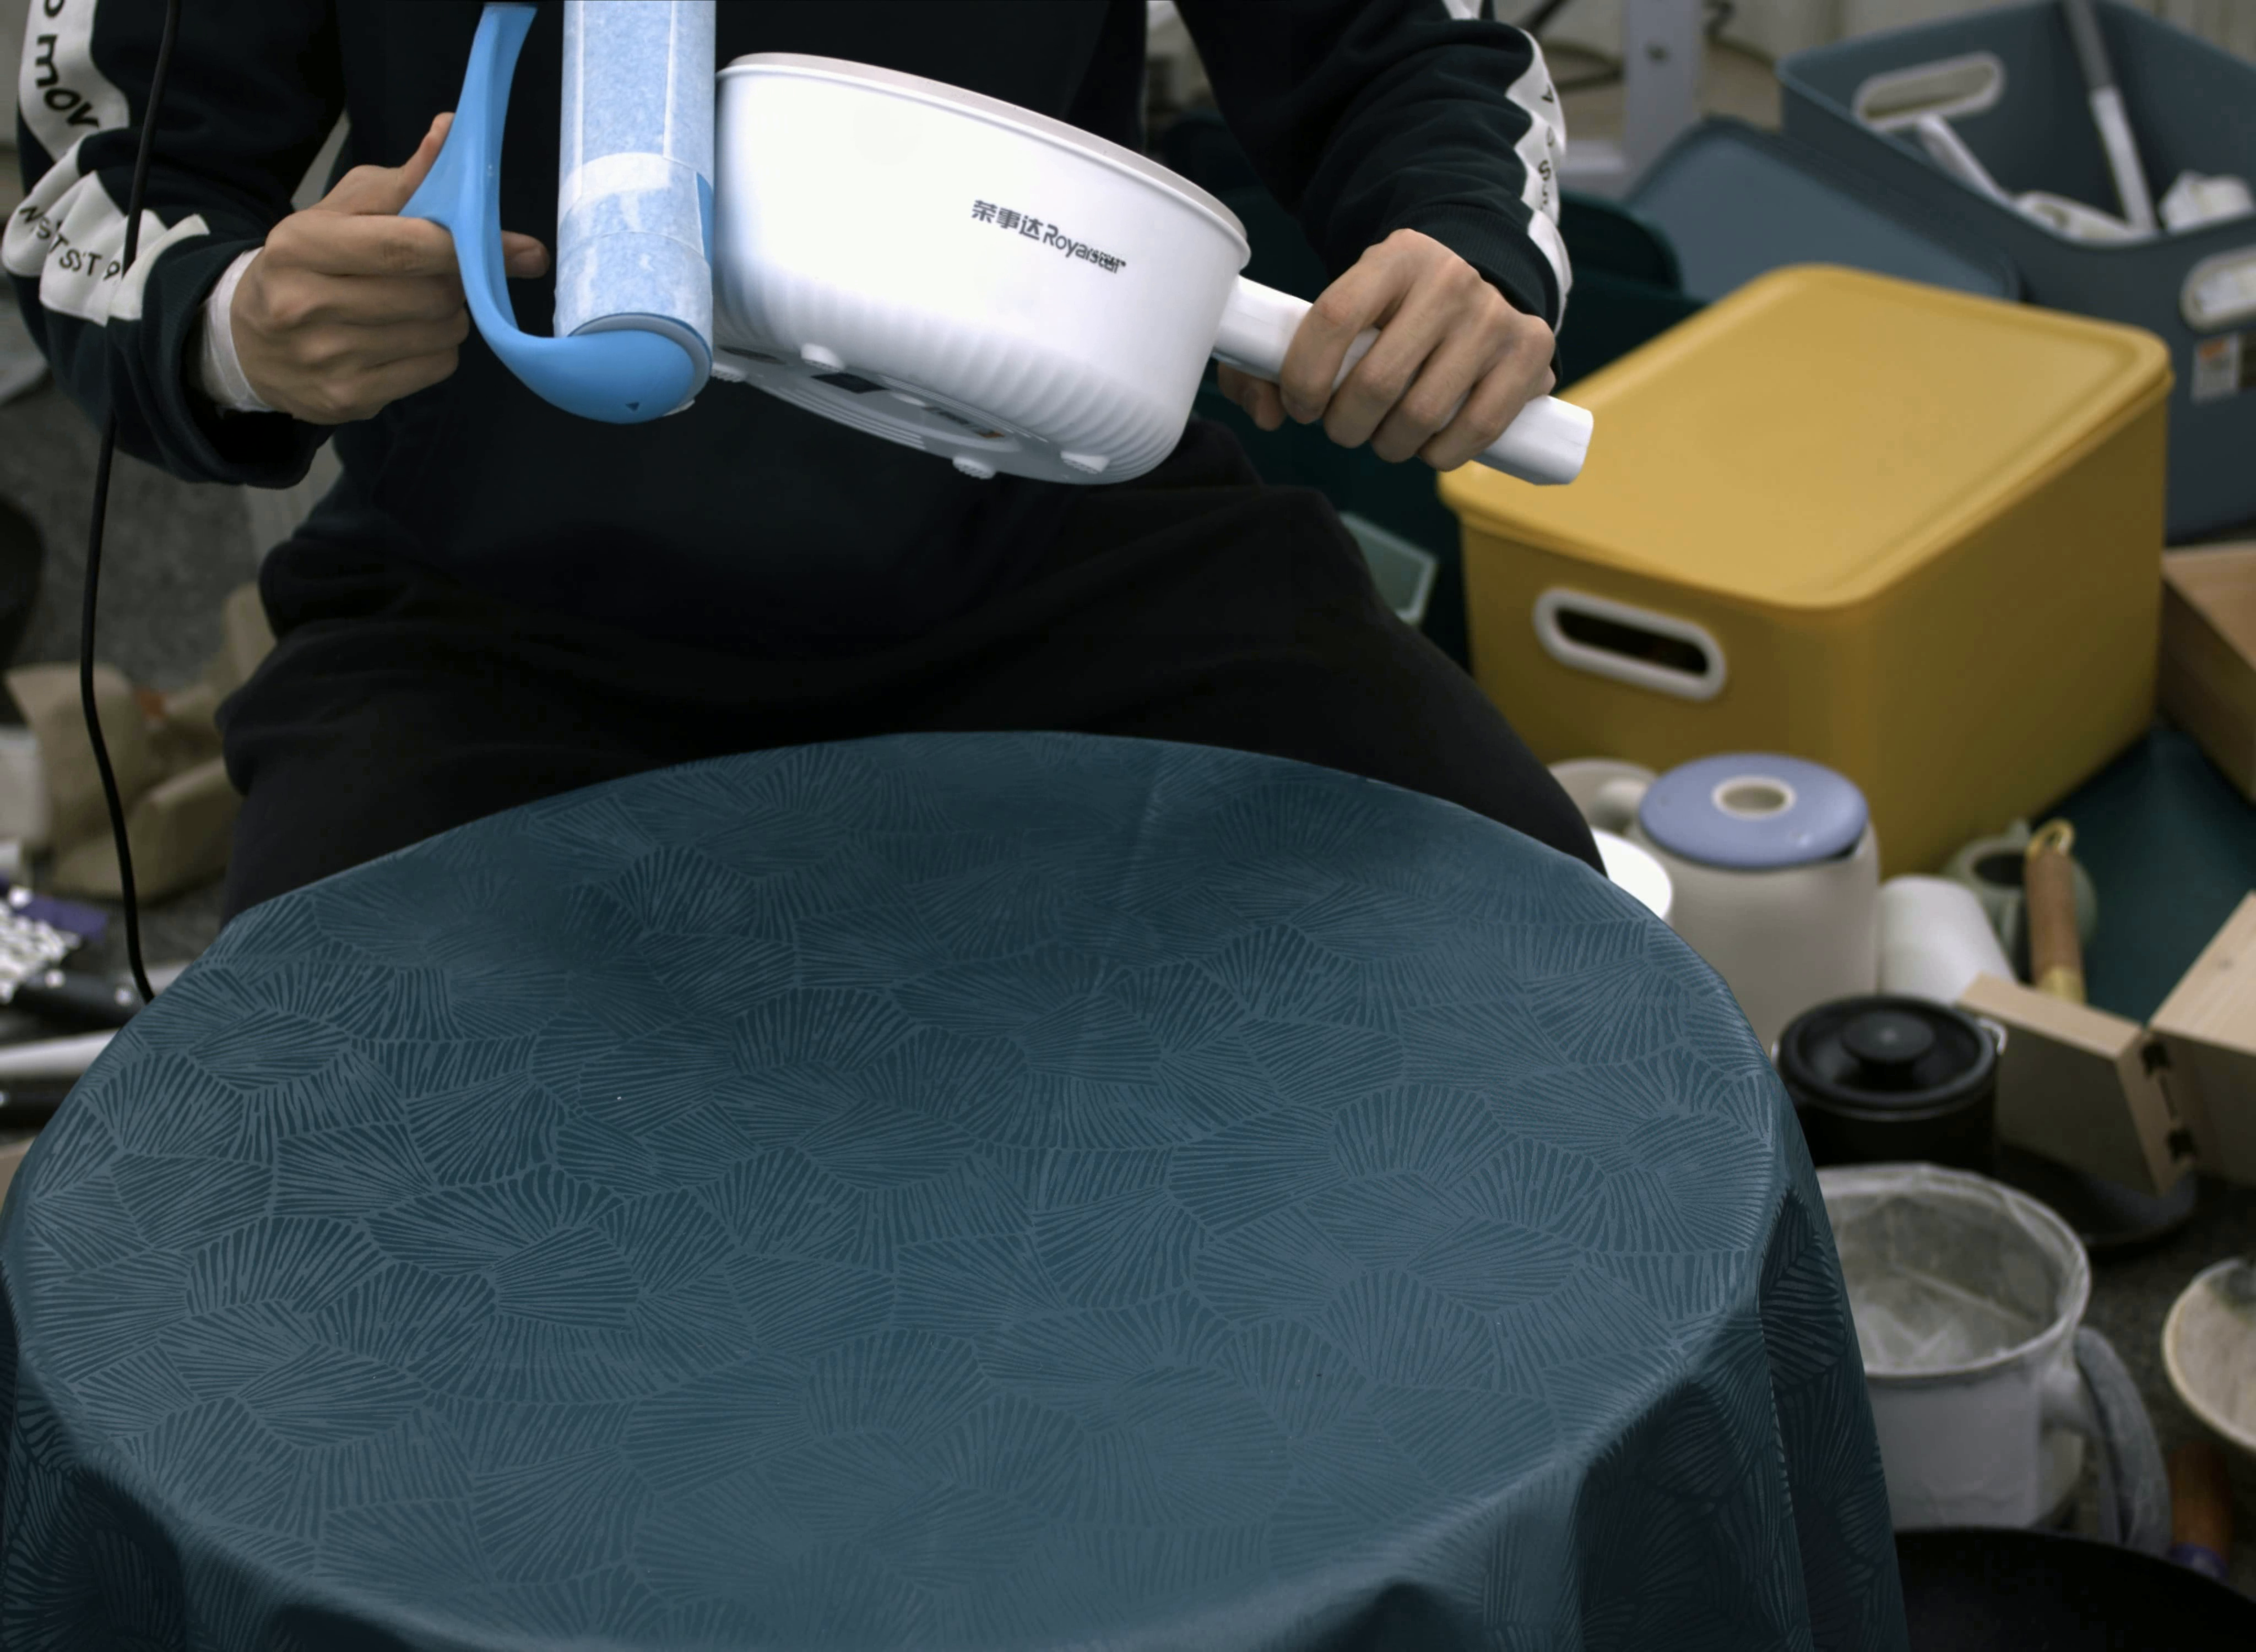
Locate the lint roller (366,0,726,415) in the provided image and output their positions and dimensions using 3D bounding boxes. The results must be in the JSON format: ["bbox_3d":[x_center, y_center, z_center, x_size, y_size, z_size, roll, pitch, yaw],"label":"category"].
[{"bbox_3d":[-0.215,-0.209,1.965,0.178,0.067,0.233,-27,48,24],"label":"lint roller"}]

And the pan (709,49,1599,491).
[{"bbox_3d":[0.001,-0.165,2.024,0.354,0.103,0.200,21,-7,-23],"label":"pan"}]
